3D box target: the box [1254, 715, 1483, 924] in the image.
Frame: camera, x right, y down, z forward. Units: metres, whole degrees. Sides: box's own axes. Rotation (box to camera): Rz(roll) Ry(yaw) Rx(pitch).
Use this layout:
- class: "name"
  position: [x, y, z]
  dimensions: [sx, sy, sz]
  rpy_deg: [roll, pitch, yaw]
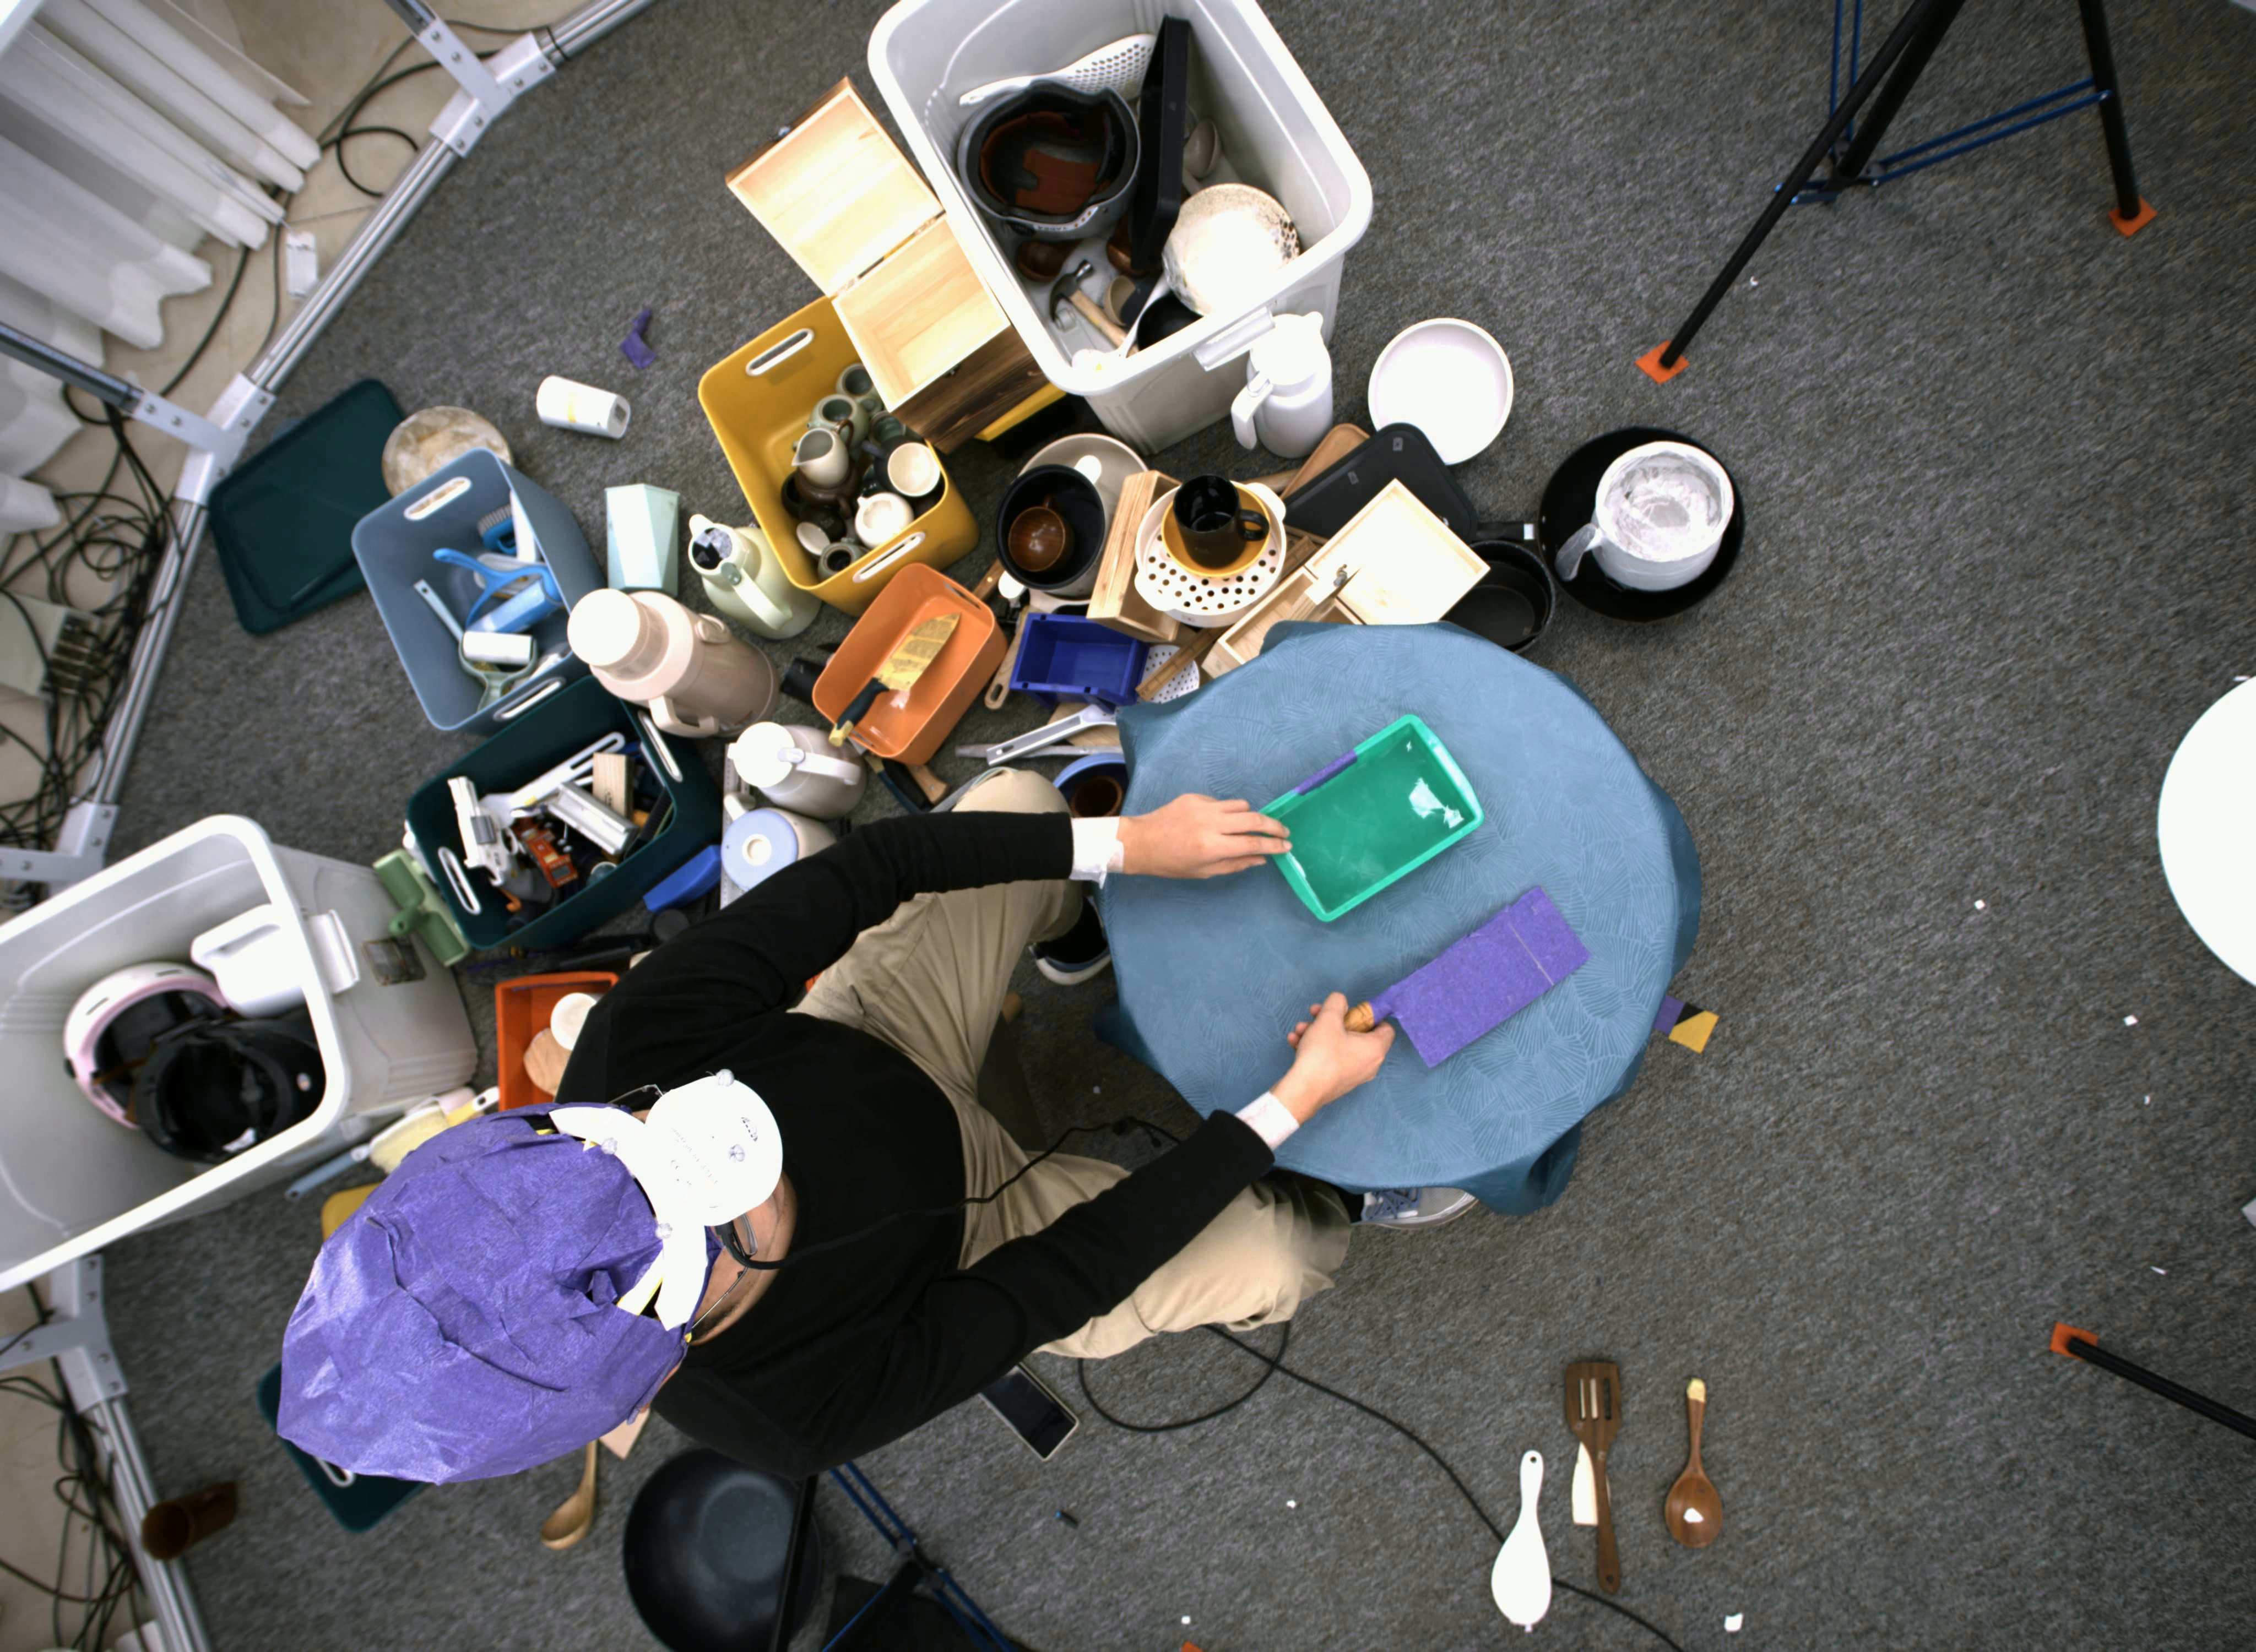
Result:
- class: "box"
  position: [0.250, -0.005, 1.437]
  dimensions: [0.212, 0.065, 0.138]
  rpy_deg: [-35, 80, 8]

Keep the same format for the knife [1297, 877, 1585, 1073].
- class: "knife"
  position: [0.324, 0.175, 1.406]
  dimensions: [0.315, 0.032, 0.103]
  rpy_deg: [-34, 83, -3]
